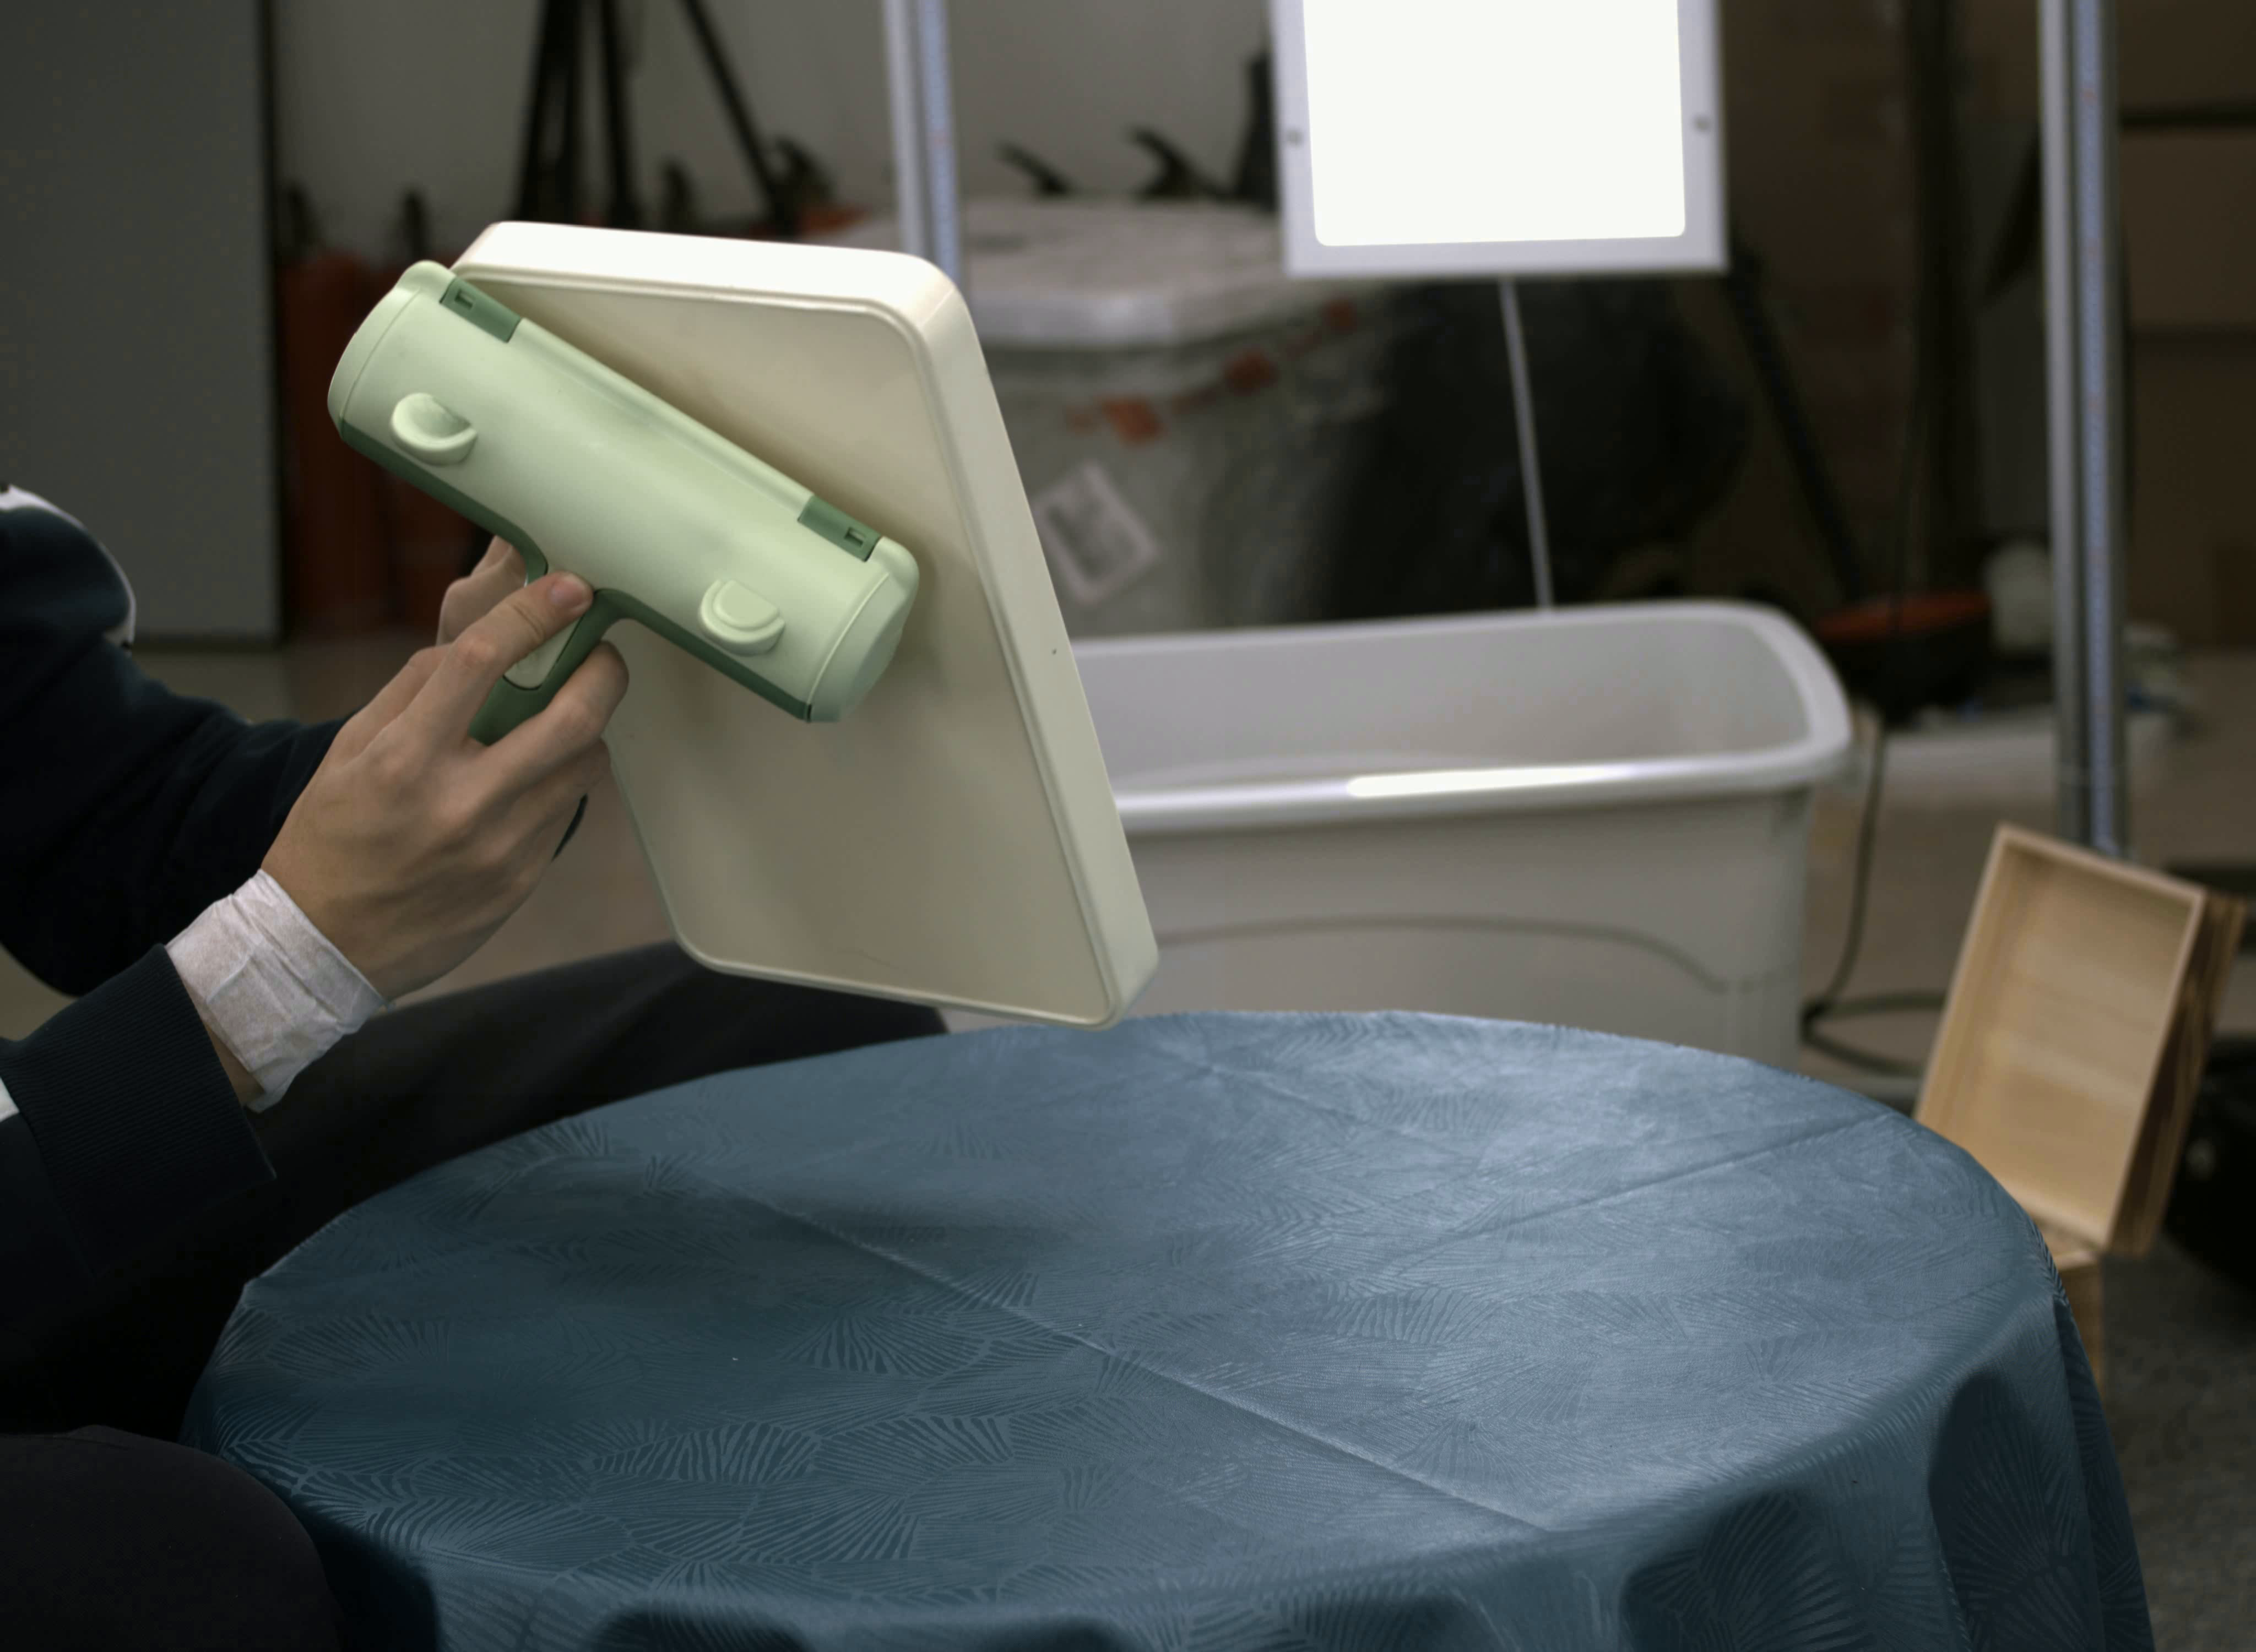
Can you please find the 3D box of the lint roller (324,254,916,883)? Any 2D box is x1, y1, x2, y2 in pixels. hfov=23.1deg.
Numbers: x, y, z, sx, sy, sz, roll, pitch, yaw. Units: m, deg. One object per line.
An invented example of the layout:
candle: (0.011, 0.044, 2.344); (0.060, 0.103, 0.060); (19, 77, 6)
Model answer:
lint roller: (-0.191, -0.057, 1.759); (0.199, 0.185, 0.081); (32, 11, 7)

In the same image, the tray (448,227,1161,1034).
tray: (-0.107, -0.061, 1.816); (0.195, 0.300, 0.027); (8, 42, 31)
